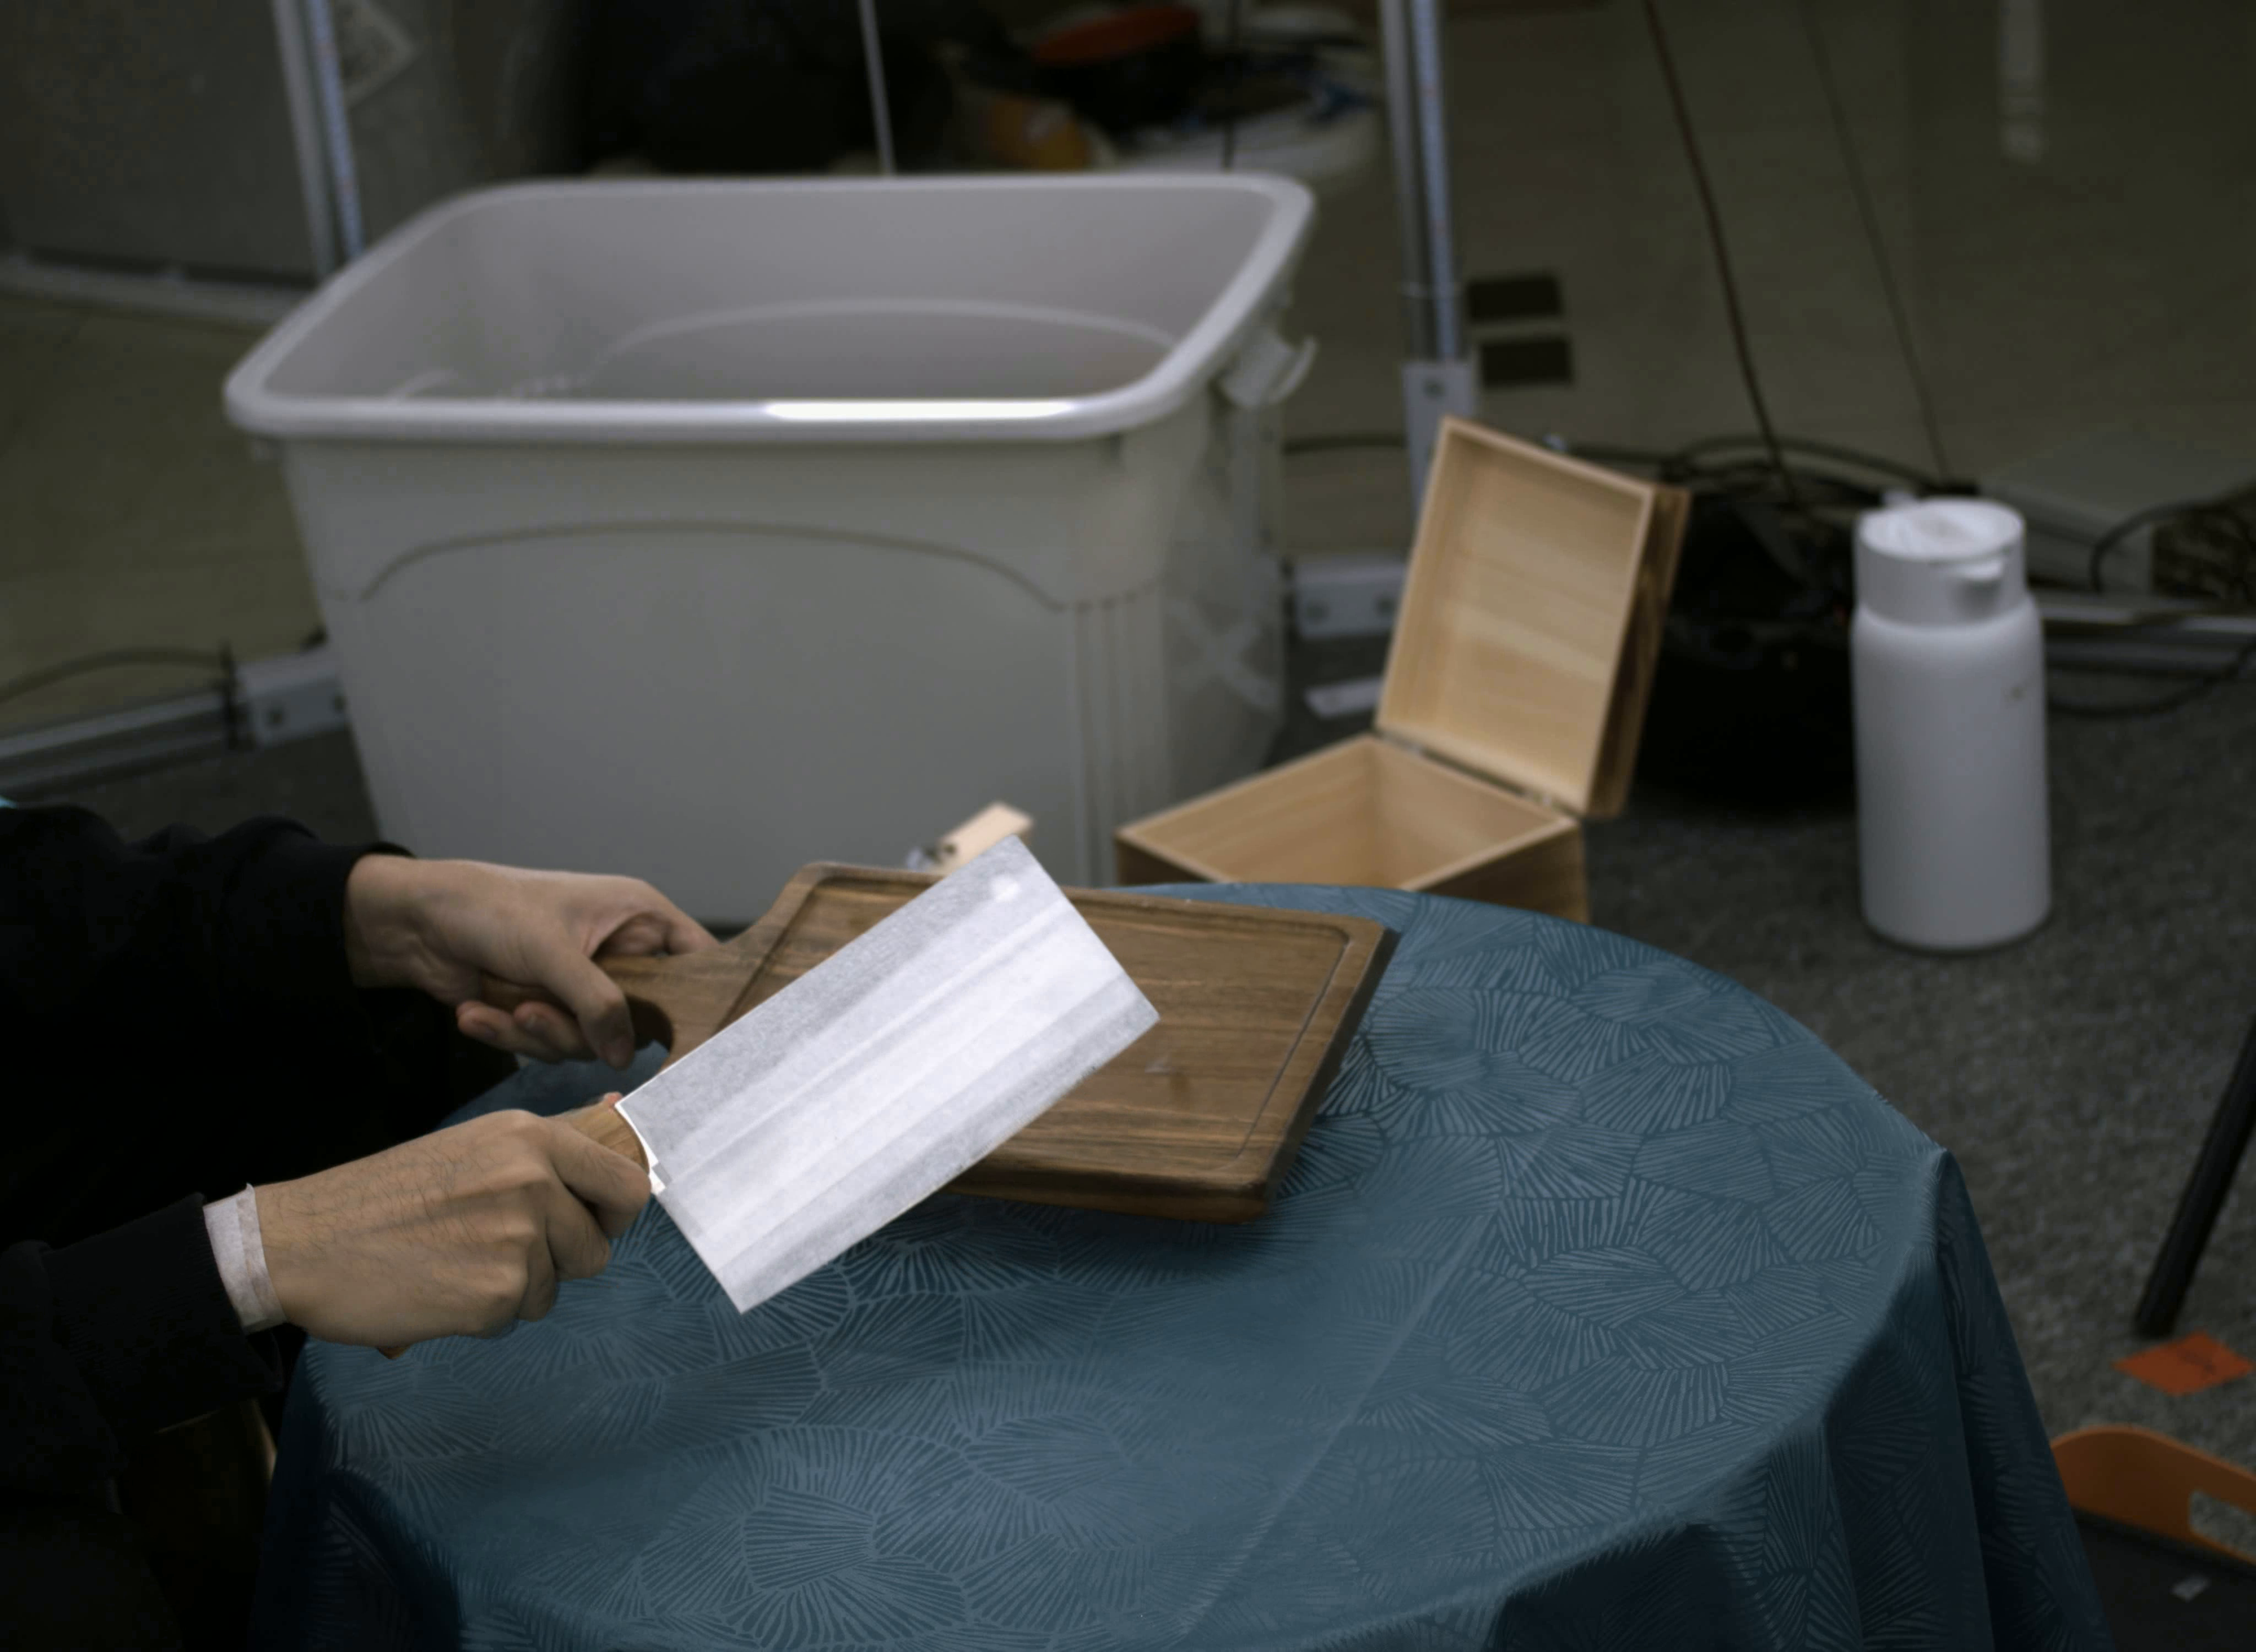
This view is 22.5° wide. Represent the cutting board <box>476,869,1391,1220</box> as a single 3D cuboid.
[{"bbox_3d":[-0.087,0.077,2.202,0.351,0.023,0.198,5,31,16],"label":"cutting board"}]

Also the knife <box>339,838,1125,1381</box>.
[{"bbox_3d":[-0.134,0.118,2.012,0.304,0.092,0.021,-35,-9,-15],"label":"knife"}]
